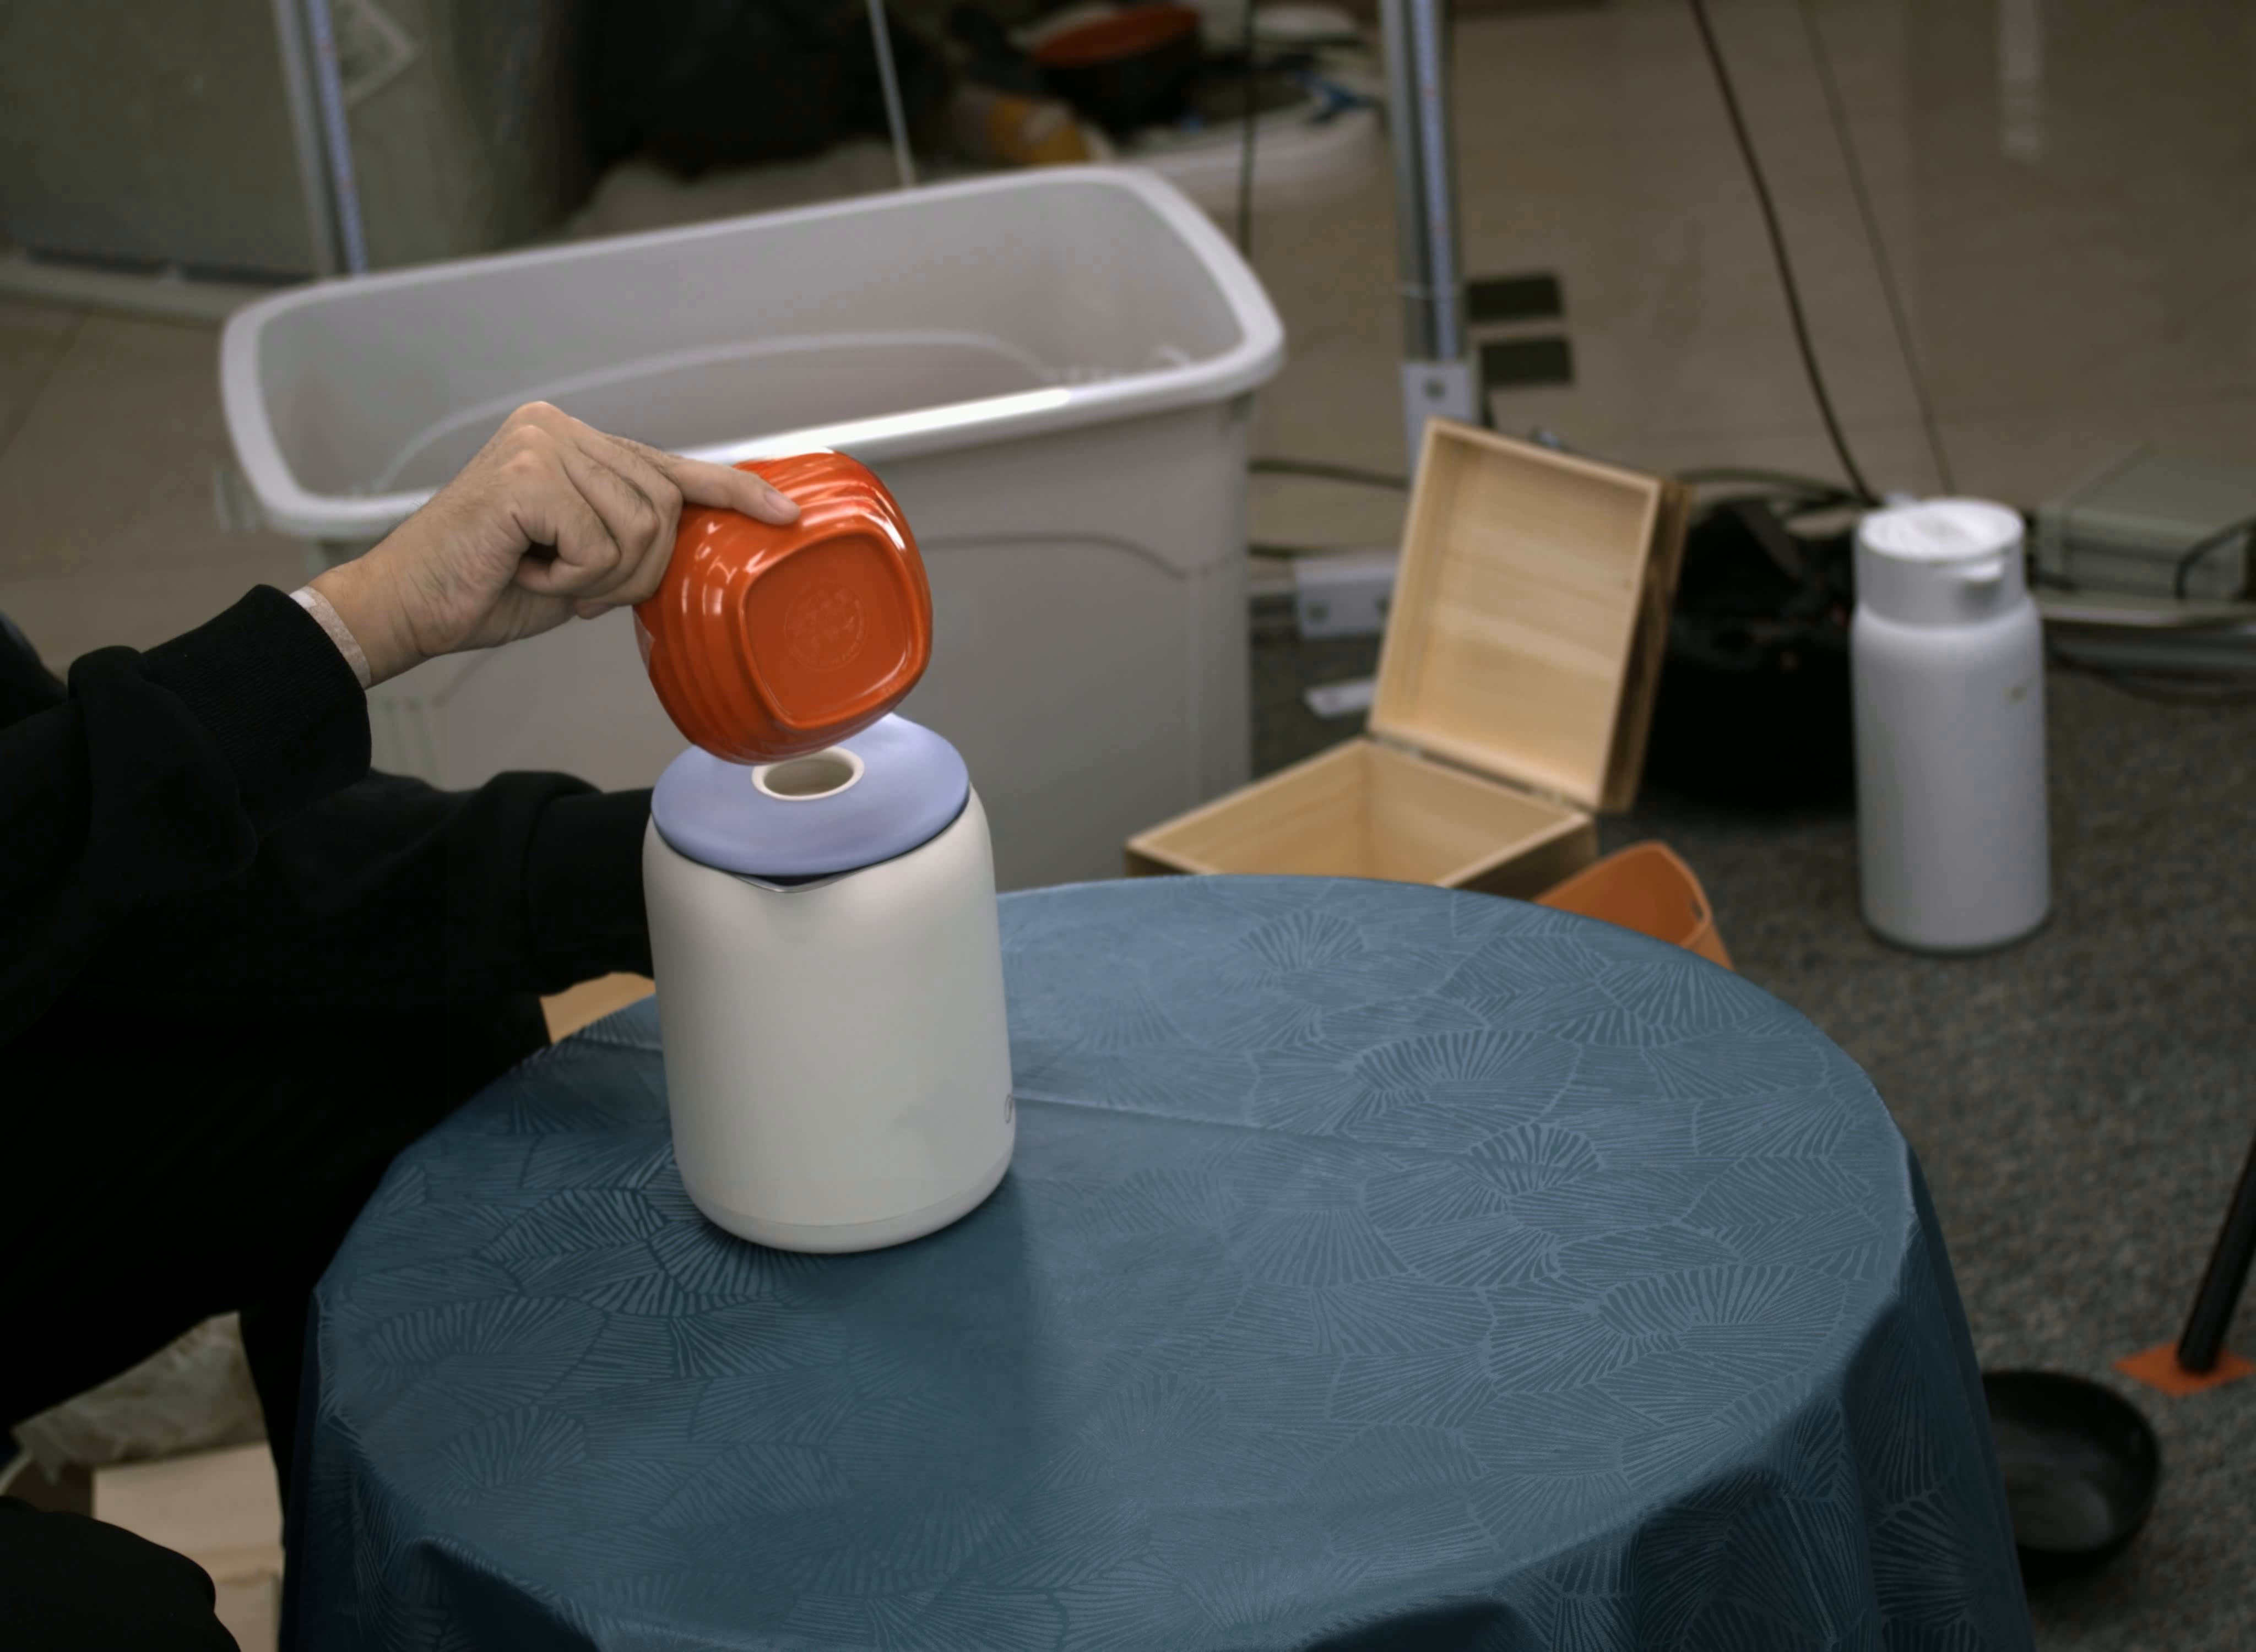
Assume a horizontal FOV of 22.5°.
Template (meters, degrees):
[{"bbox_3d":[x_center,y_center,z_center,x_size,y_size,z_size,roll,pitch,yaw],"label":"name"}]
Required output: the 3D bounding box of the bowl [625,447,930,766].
[{"bbox_3d":[-0.116,-0.073,1.999,0.118,0.120,0.051,-16,23,-21],"label":"bowl"}]

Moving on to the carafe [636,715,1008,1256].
[{"bbox_3d":[-0.114,0.047,2.150,0.132,0.185,0.188,-1,28,2],"label":"carafe"}]
